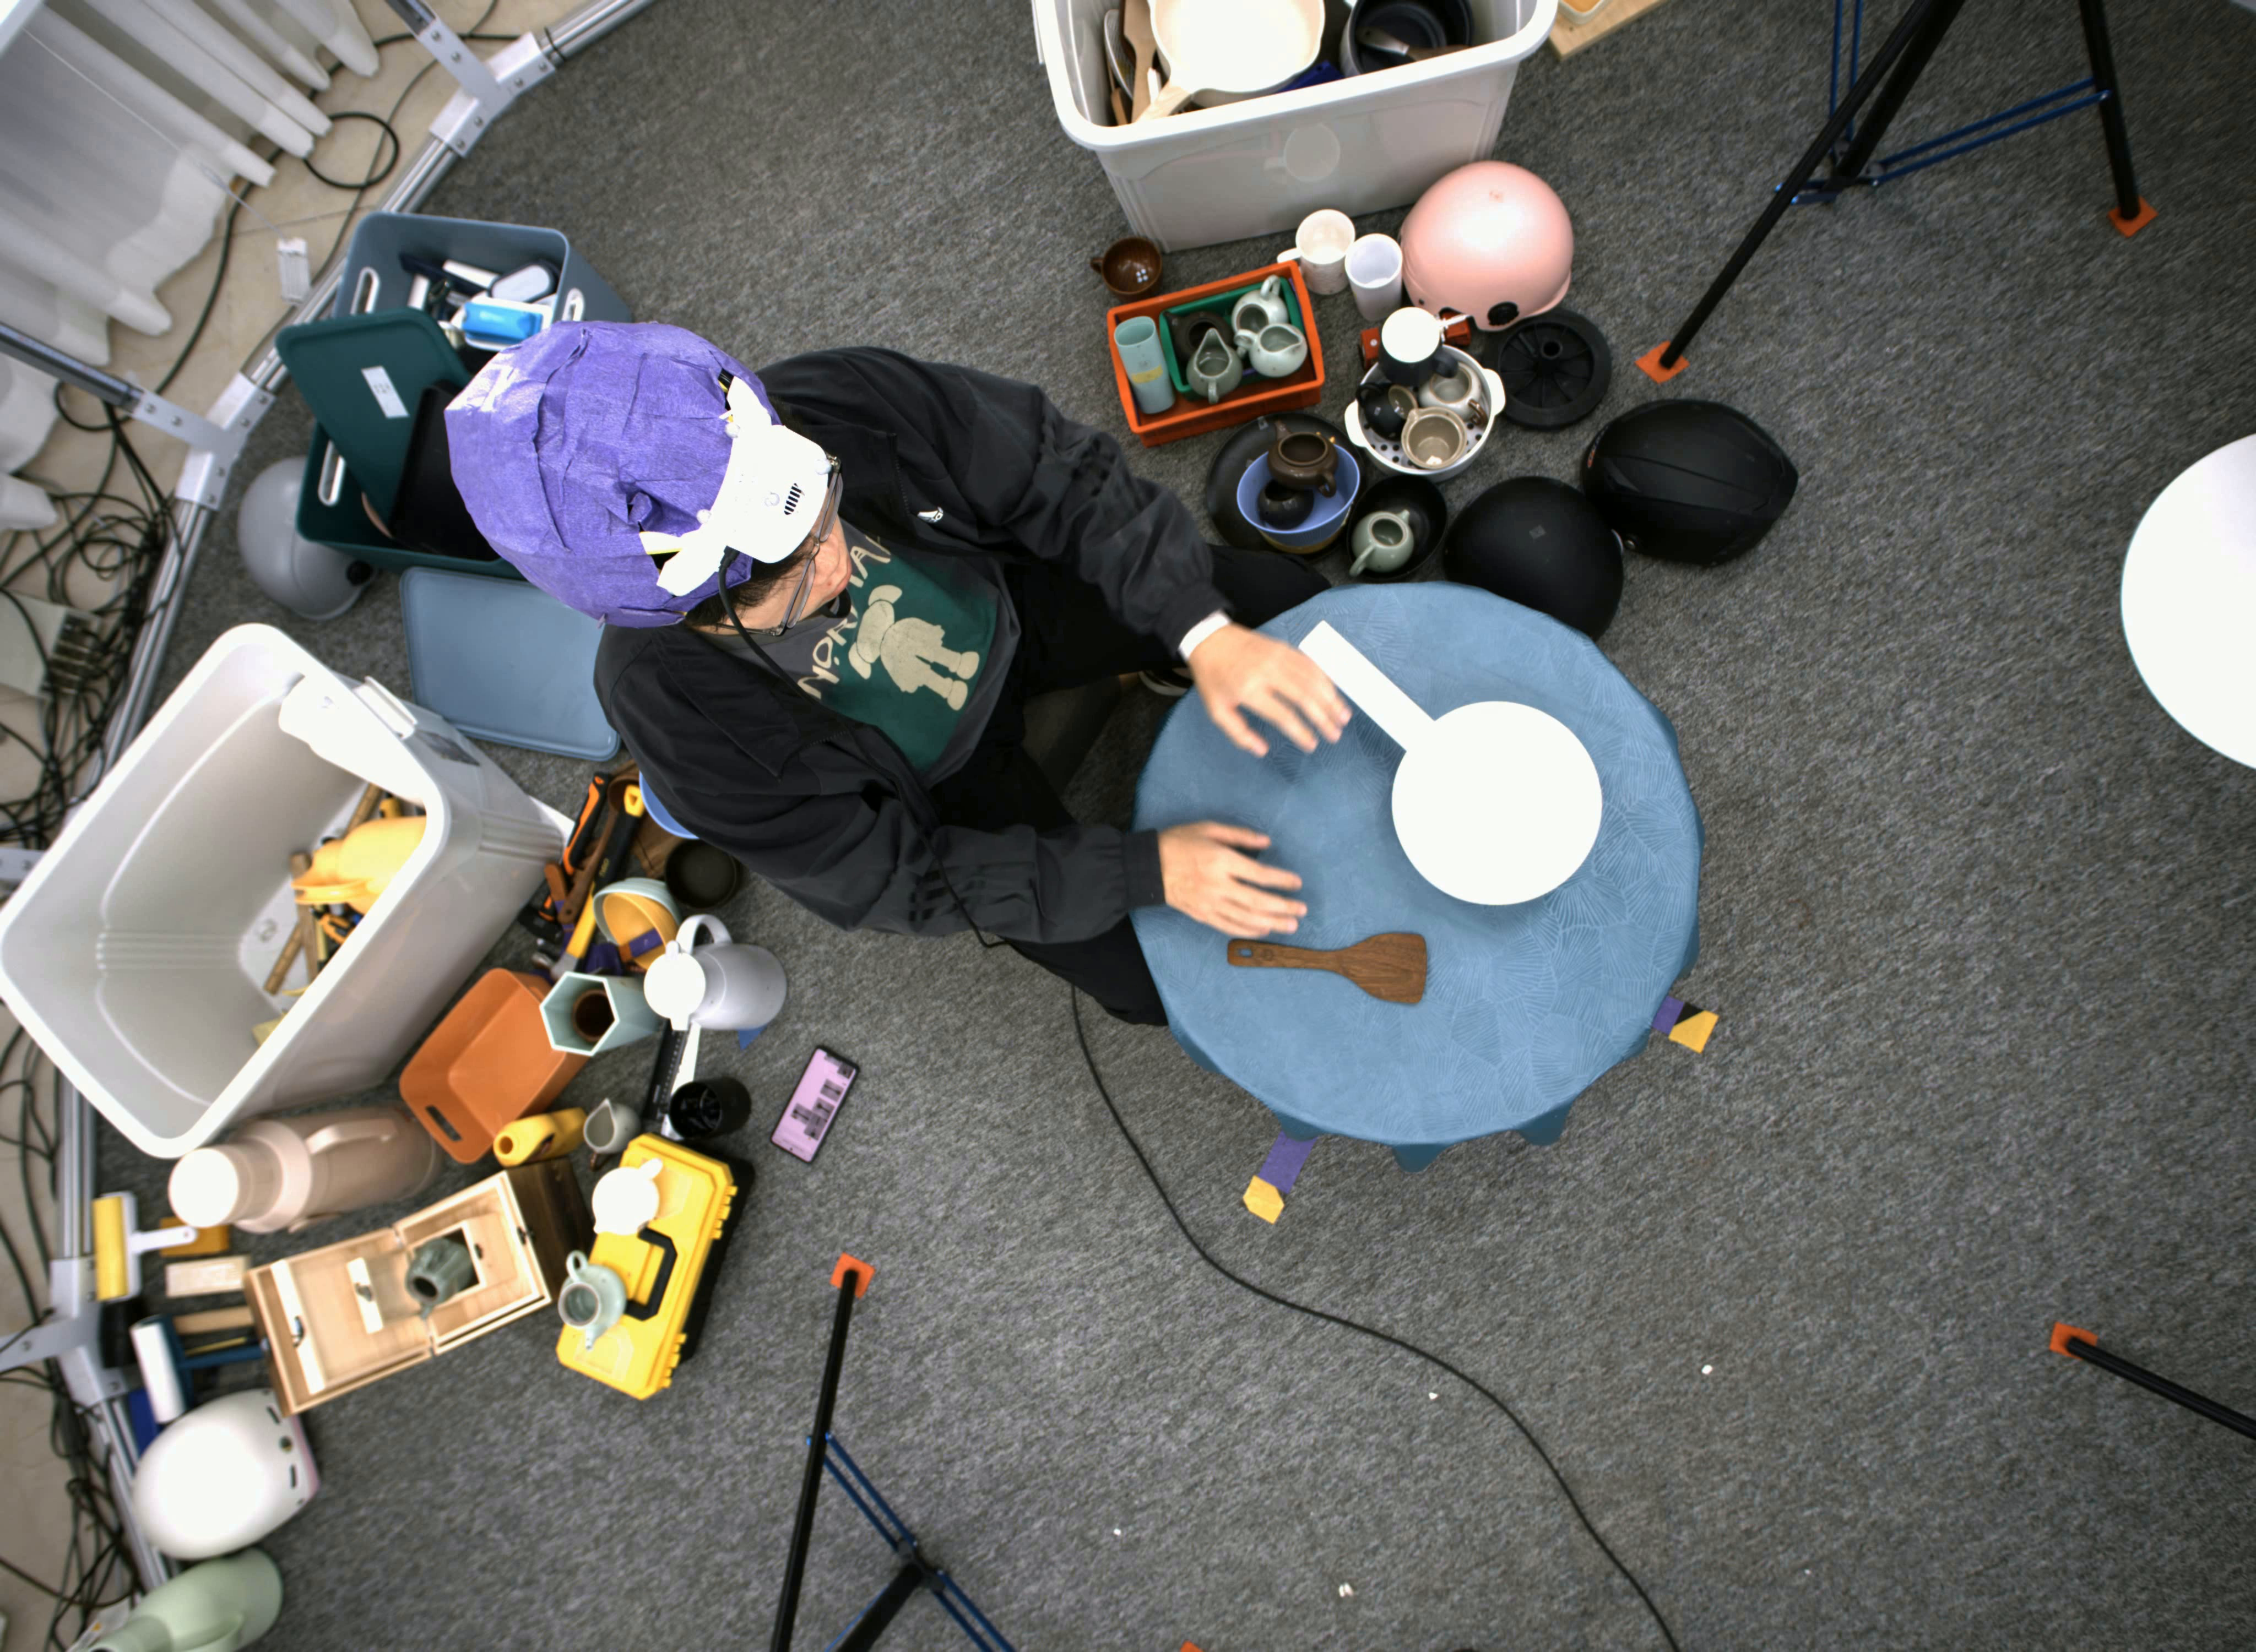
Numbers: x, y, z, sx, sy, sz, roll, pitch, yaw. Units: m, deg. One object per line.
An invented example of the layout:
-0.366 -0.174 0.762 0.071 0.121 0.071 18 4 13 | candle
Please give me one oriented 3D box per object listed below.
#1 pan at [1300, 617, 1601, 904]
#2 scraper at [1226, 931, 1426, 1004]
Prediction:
0.317 -0.074 1.408 0.353 0.102 0.202 45 95 11 | pan
0.208 0.140 1.462 0.212 0.011 0.075 4 87 12 | scraper
